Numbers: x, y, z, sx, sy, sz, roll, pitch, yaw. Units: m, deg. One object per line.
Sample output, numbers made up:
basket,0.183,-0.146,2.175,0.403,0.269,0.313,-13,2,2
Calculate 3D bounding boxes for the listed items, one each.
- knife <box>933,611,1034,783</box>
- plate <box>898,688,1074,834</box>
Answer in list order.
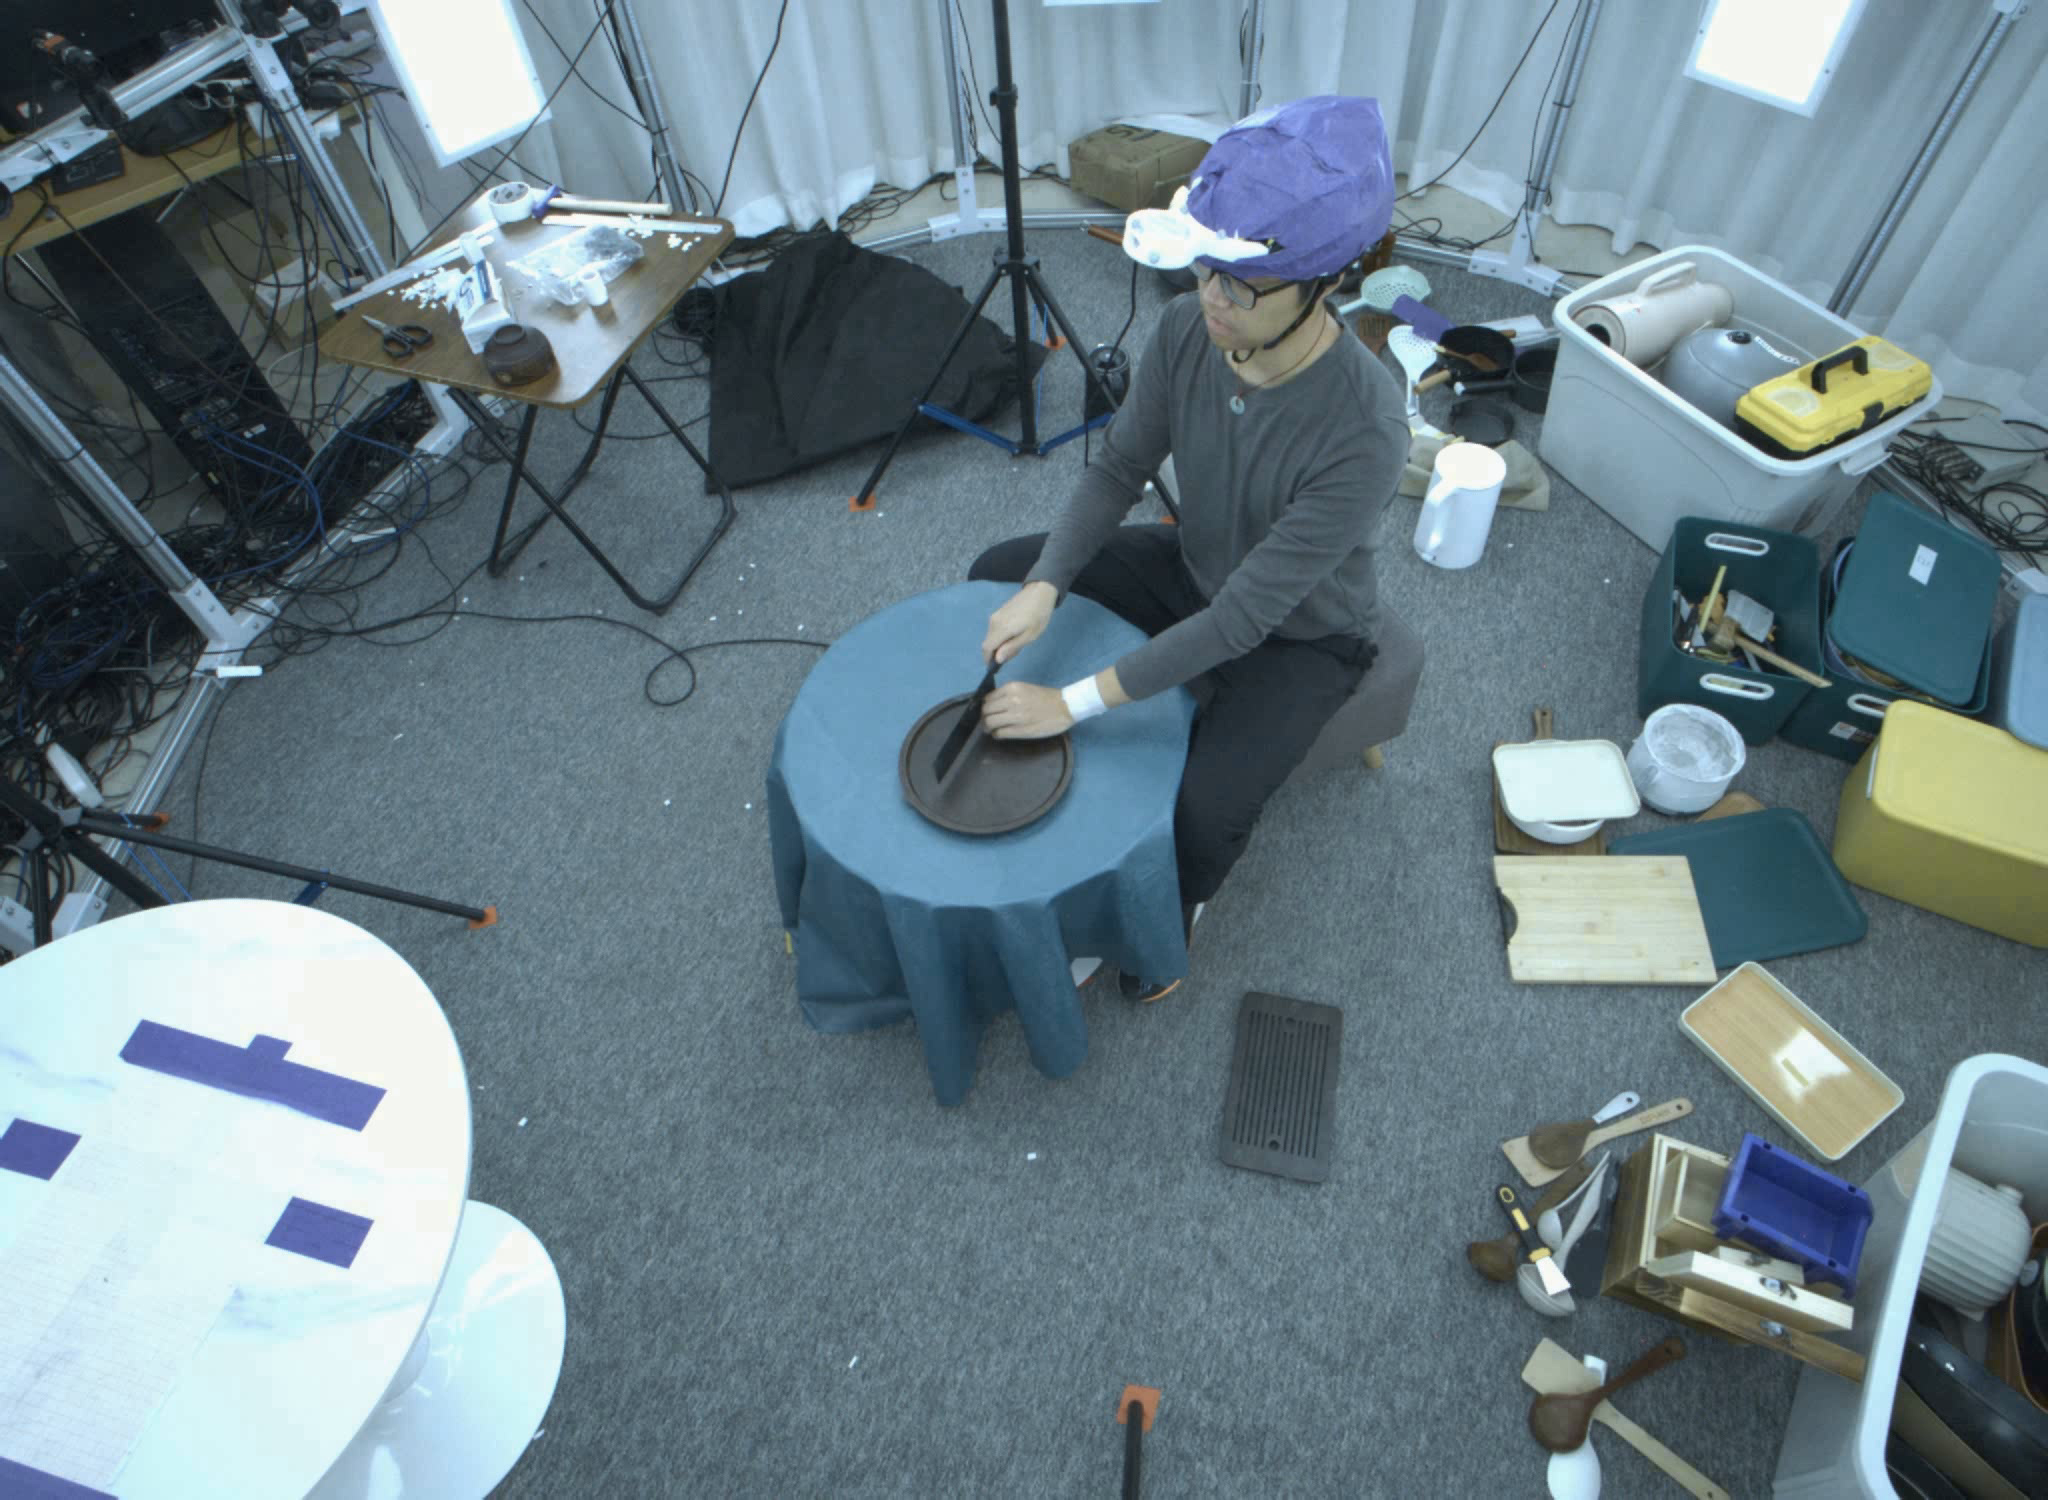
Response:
knife,-0.058,-0.083,1.772,0.020,0.082,0.302,21,64,16
plate,-0.055,0.015,1.772,0.254,0.029,0.252,-1,54,2
